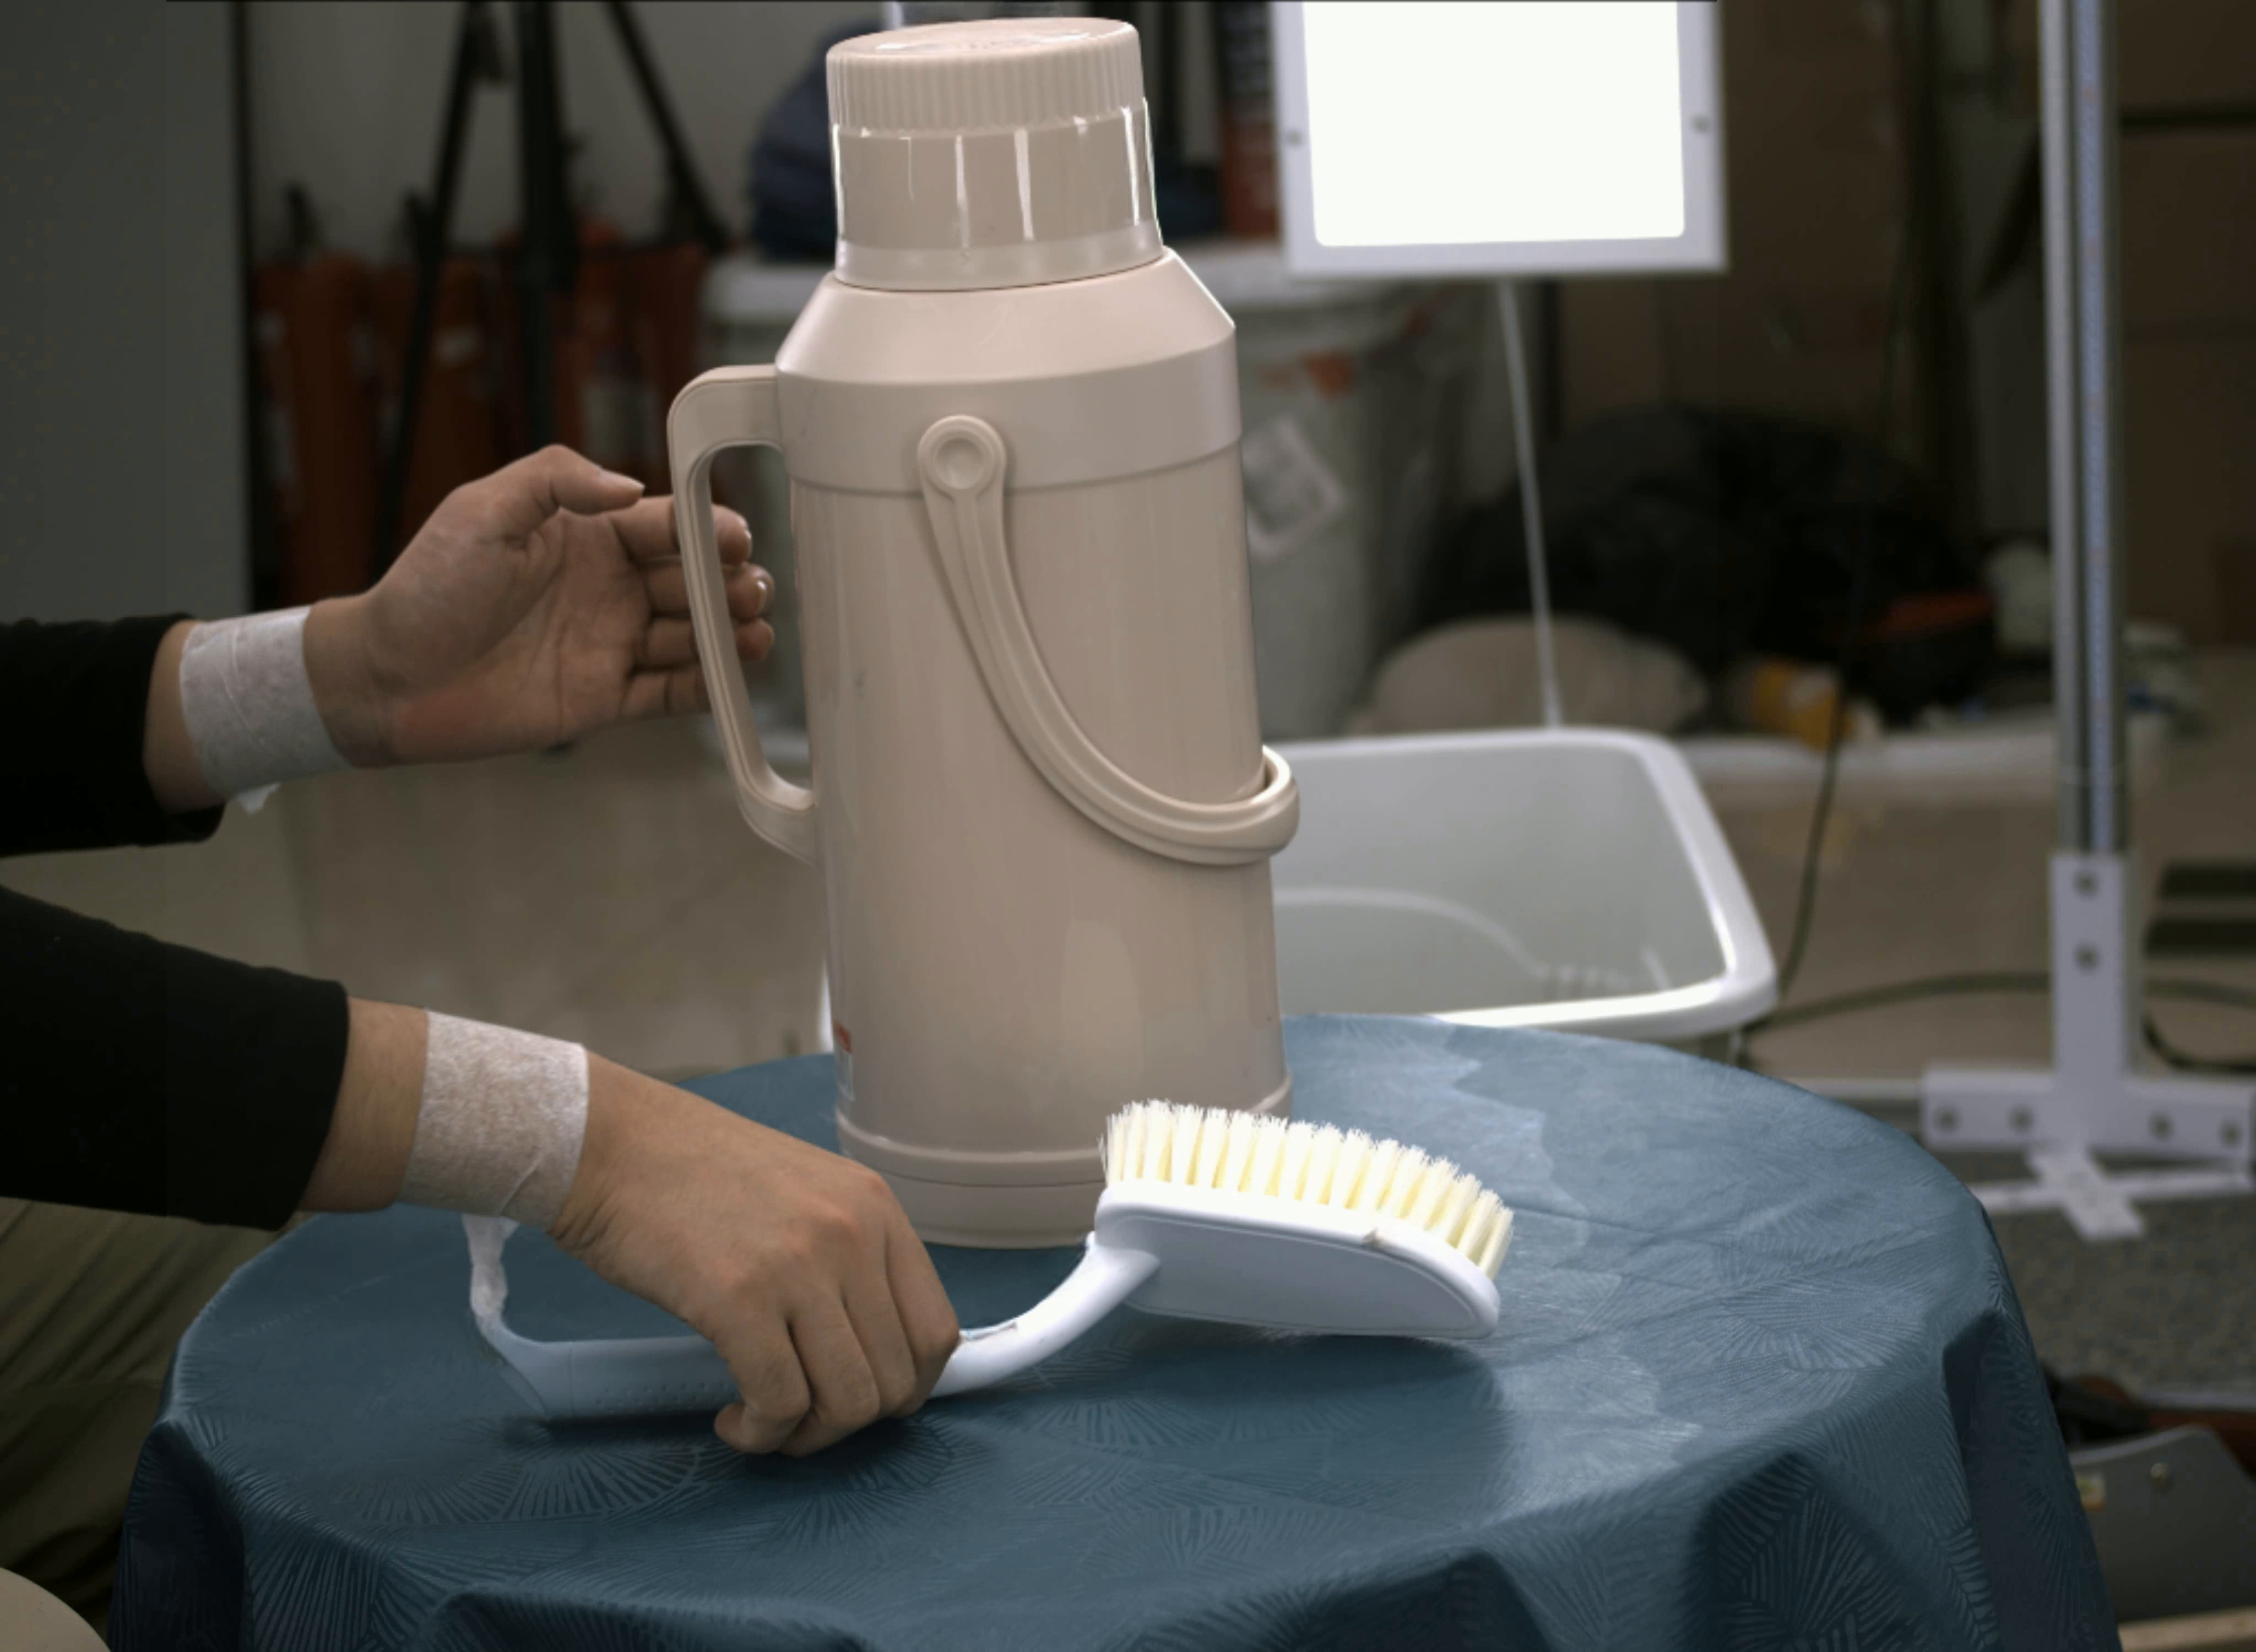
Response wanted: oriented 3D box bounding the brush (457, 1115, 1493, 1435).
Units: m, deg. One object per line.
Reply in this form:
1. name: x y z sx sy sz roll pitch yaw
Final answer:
1. brush: -0.048 0.134 1.725 0.325 0.083 0.084 -3 15 4

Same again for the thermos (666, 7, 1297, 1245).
1. thermos: -0.049 -0.069 1.879 0.208 0.408 0.173 -1 16 11
